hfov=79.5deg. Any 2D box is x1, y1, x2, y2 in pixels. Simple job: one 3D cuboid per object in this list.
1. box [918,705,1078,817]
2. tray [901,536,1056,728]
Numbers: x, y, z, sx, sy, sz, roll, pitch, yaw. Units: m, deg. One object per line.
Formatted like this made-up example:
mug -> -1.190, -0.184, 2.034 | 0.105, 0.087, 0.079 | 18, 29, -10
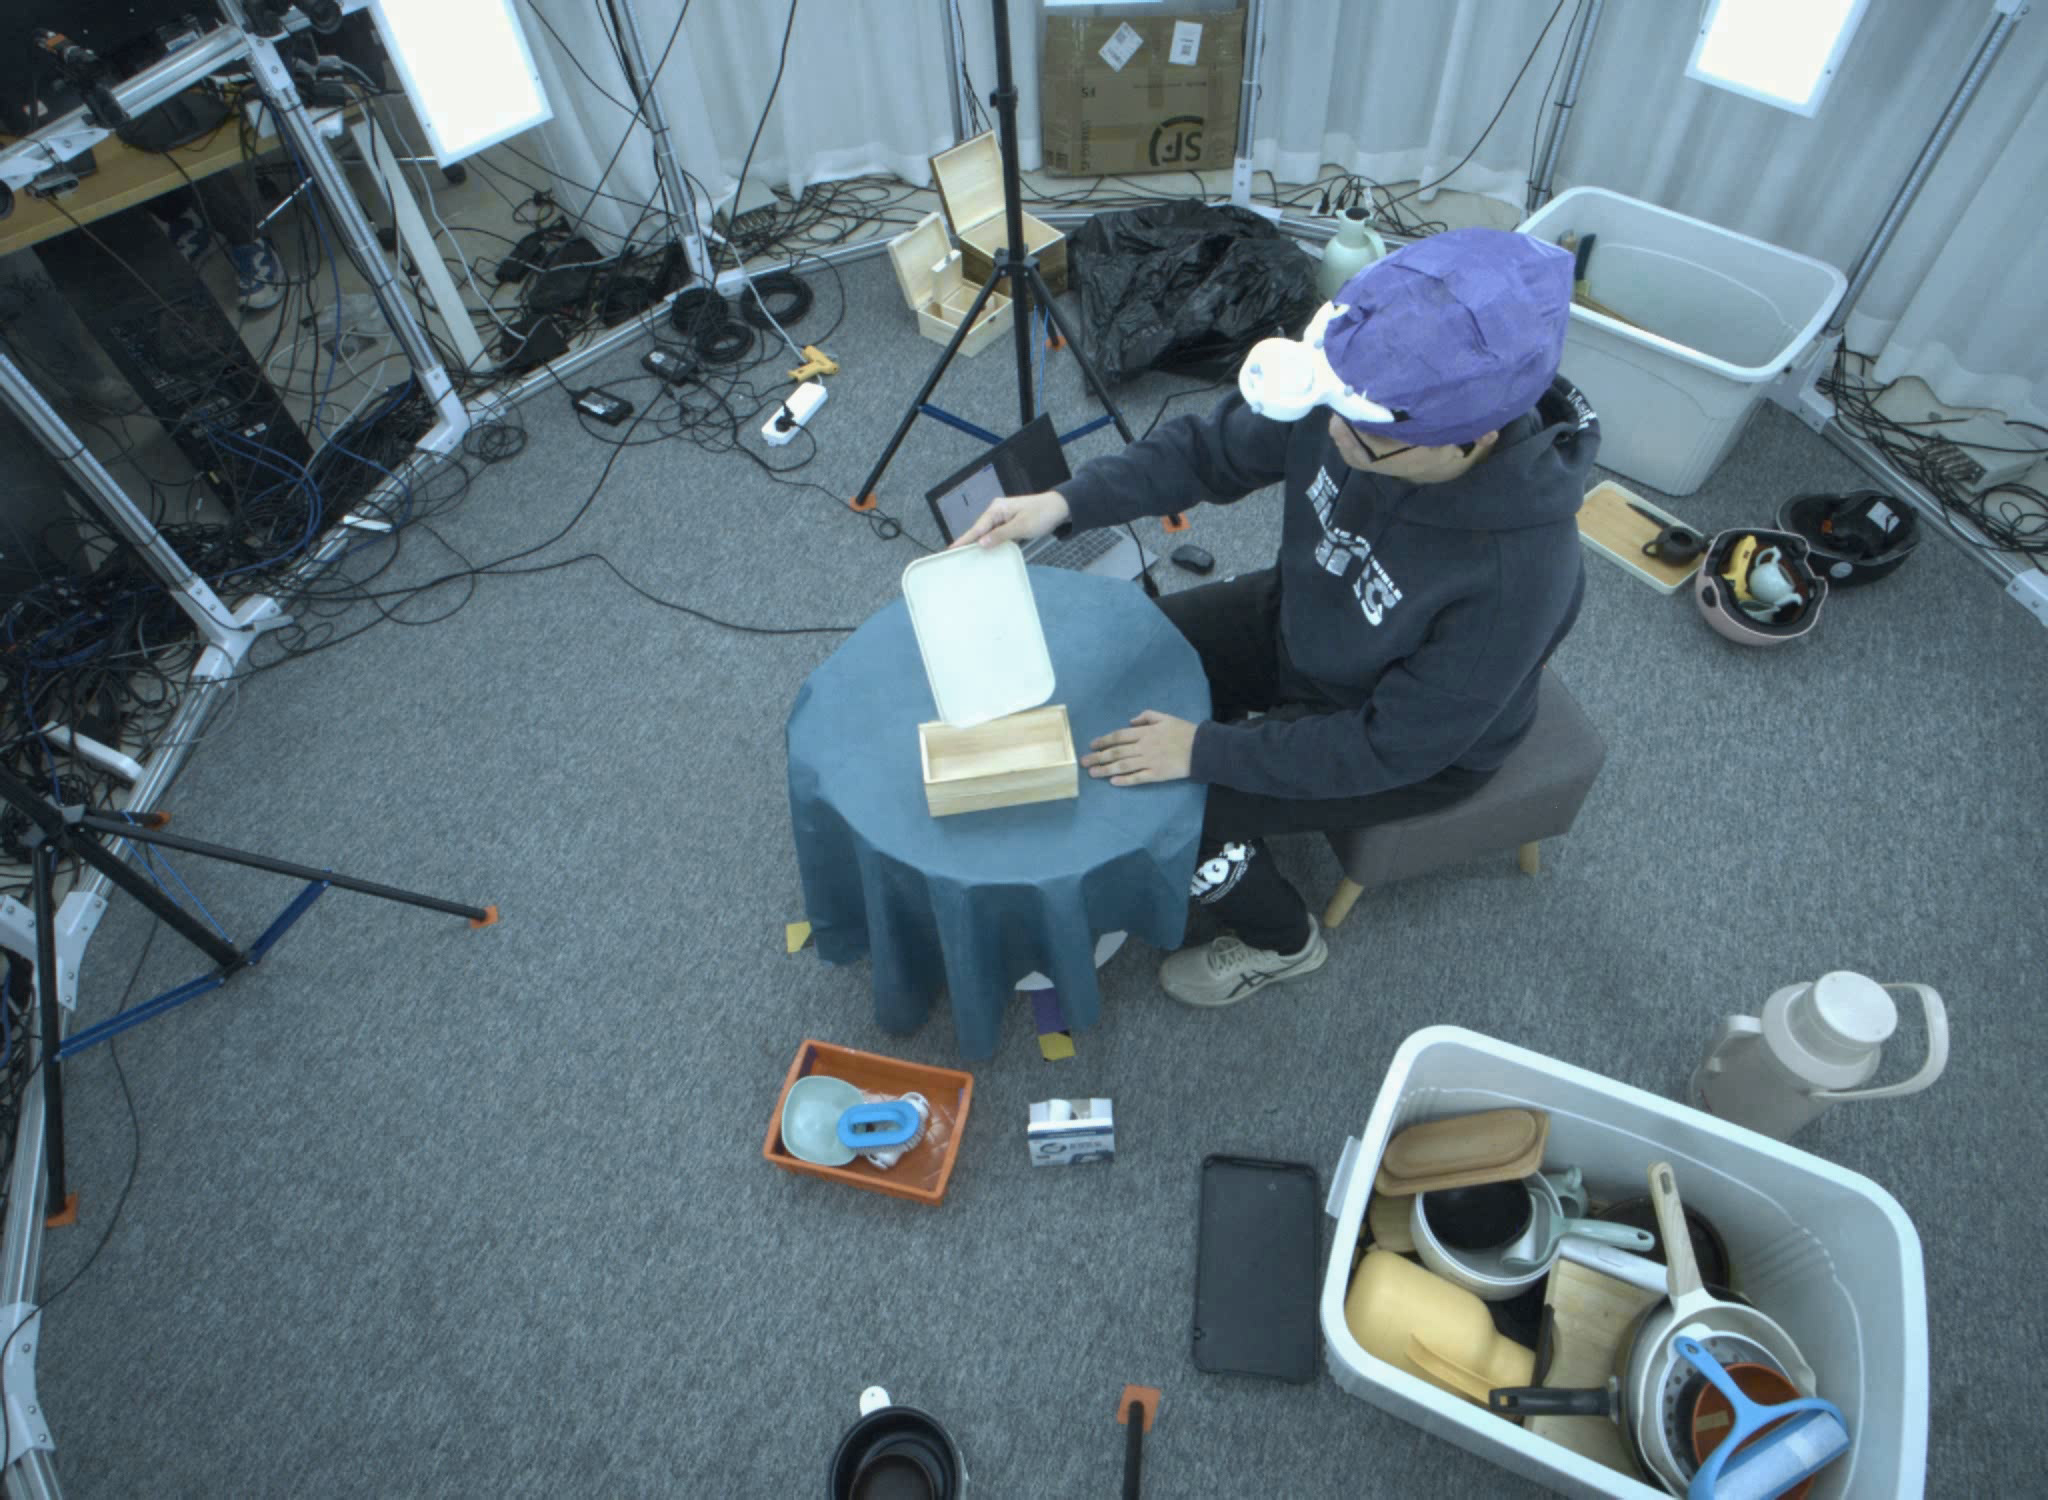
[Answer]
box -> -0.036, 0.015, 1.729 | 0.212, 0.081, 0.106 | -8, 55, -4
tray -> -0.061, -0.160, 1.671 | 0.172, 0.241, 0.017 | -18, 15, -12
